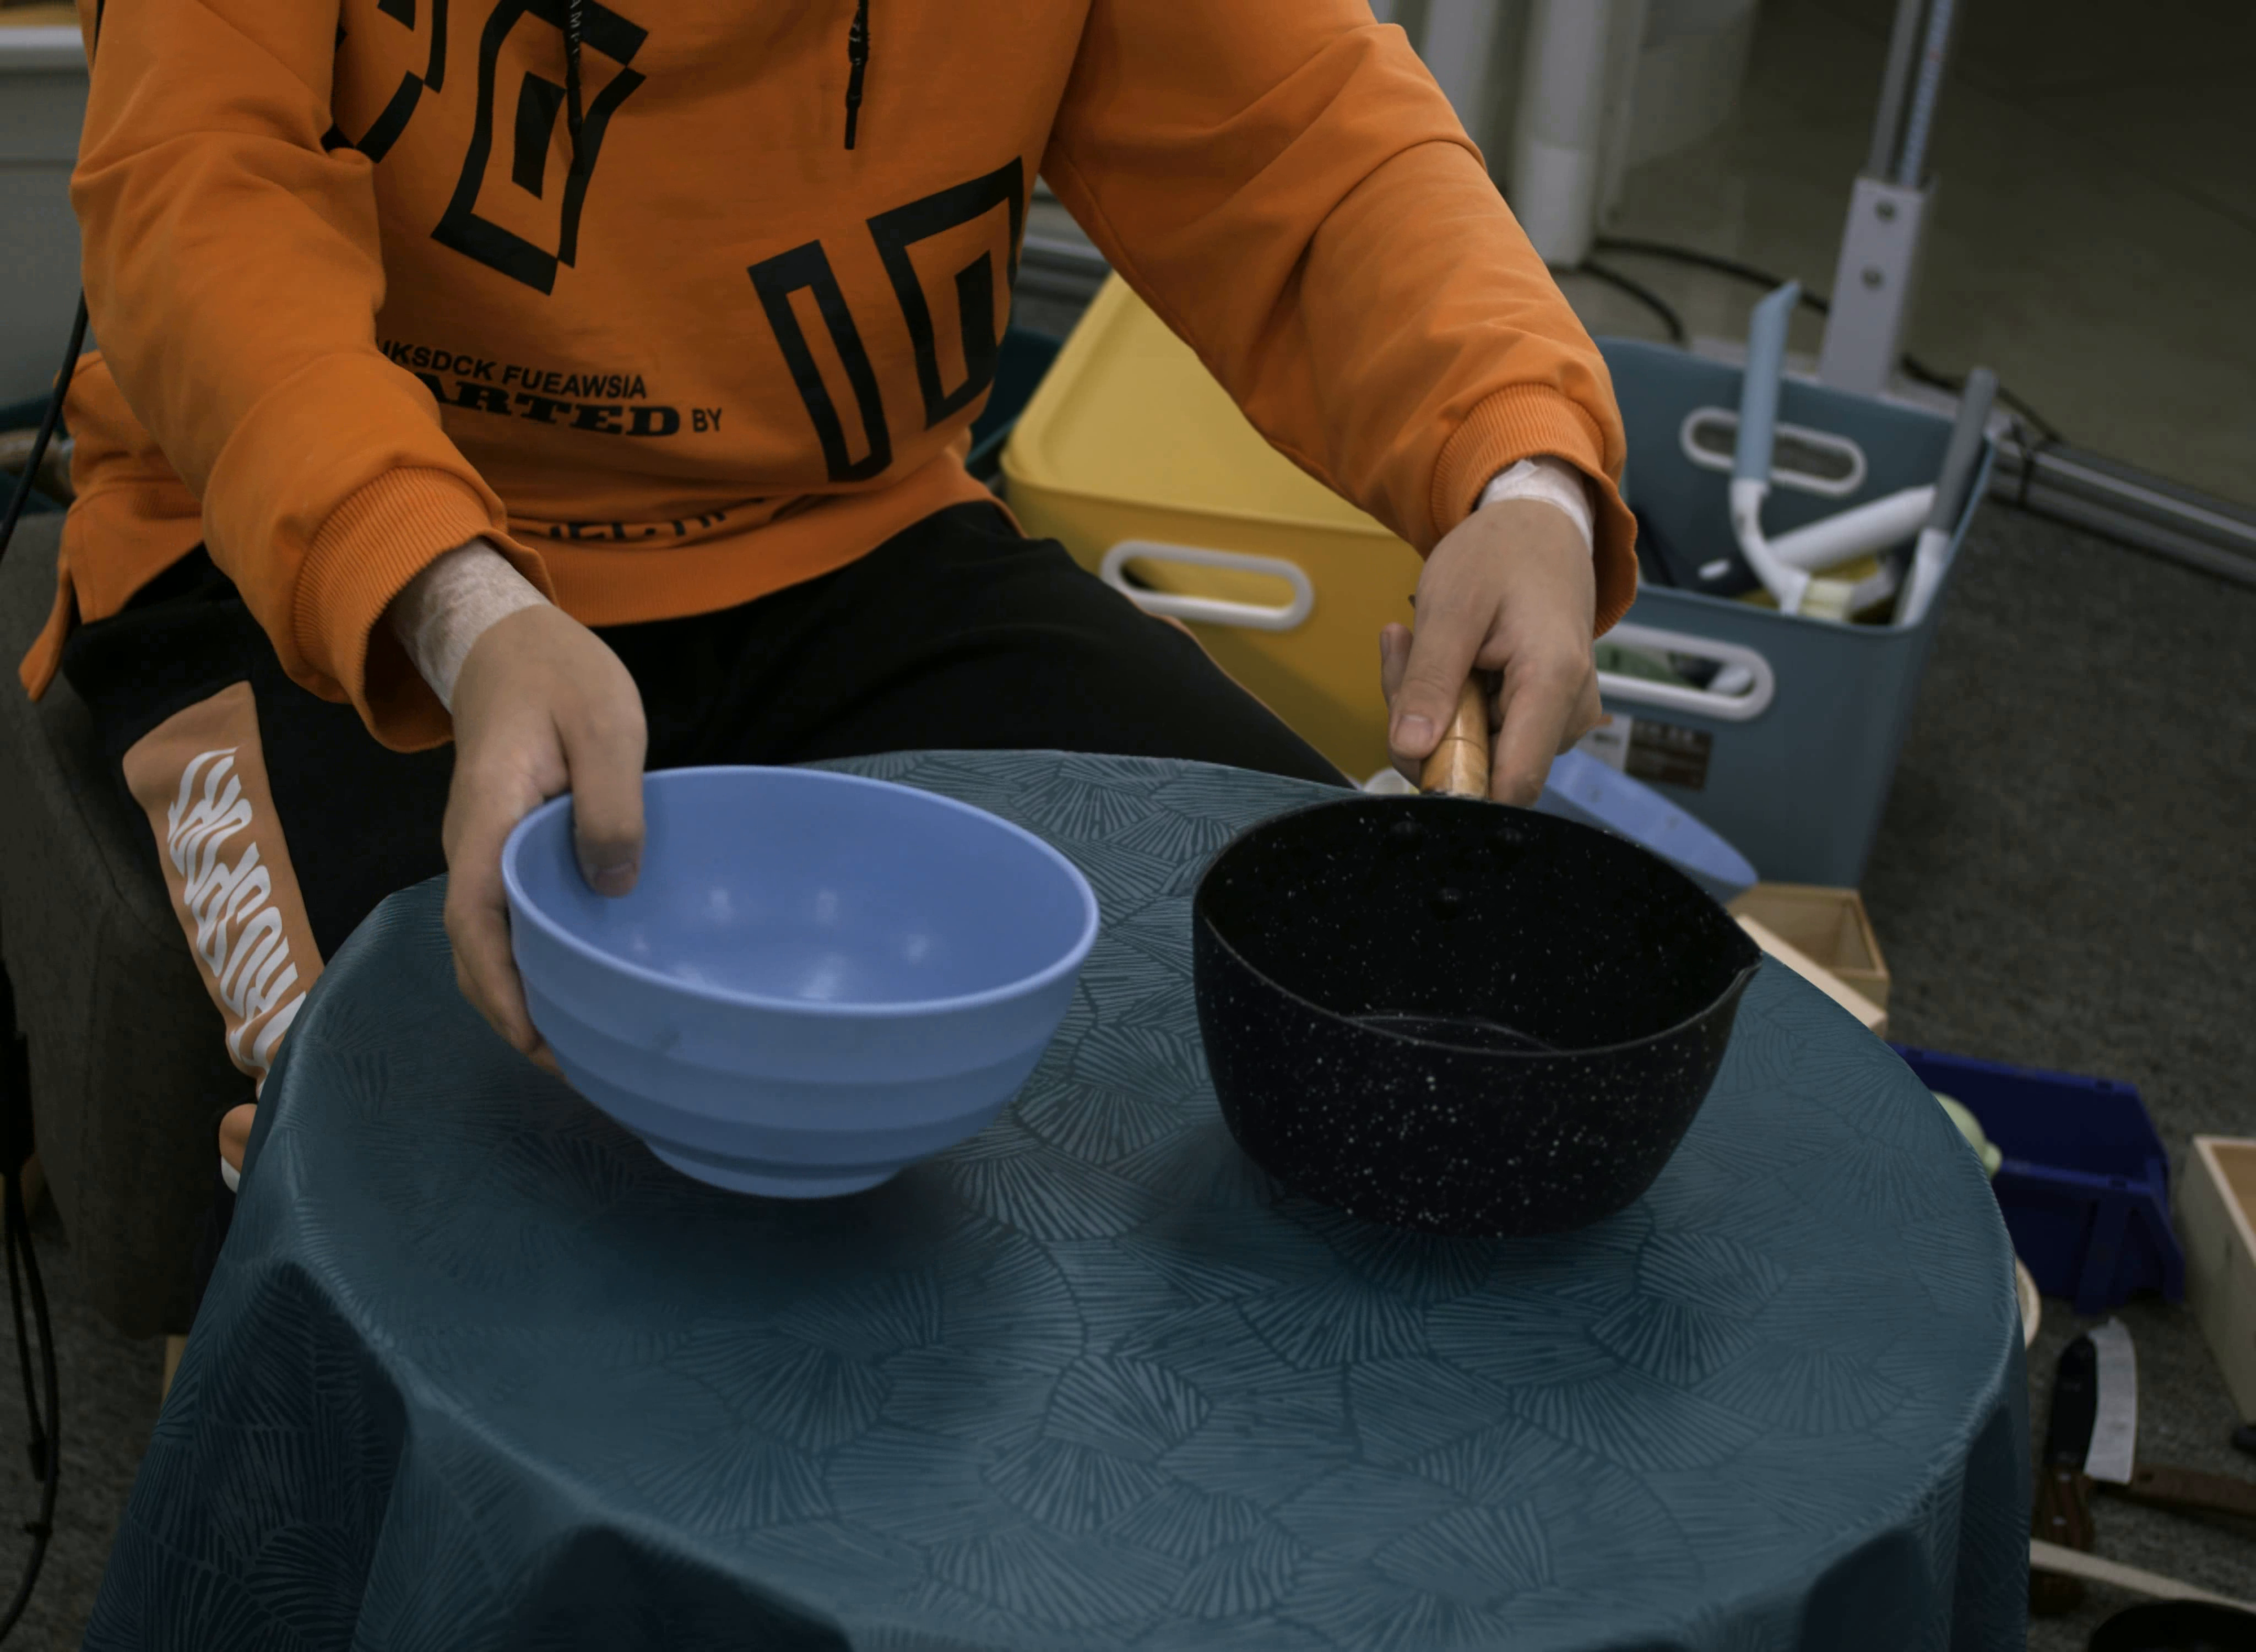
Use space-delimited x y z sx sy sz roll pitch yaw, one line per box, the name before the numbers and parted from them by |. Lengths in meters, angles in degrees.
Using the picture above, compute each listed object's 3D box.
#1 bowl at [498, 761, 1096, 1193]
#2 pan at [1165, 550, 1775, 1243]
bowl | -0.113 0.058 1.754 0.196 0.095 0.197 6 22 -3
pan | 0.113 0.021 1.877 0.207 0.108 0.345 4 28 -2
